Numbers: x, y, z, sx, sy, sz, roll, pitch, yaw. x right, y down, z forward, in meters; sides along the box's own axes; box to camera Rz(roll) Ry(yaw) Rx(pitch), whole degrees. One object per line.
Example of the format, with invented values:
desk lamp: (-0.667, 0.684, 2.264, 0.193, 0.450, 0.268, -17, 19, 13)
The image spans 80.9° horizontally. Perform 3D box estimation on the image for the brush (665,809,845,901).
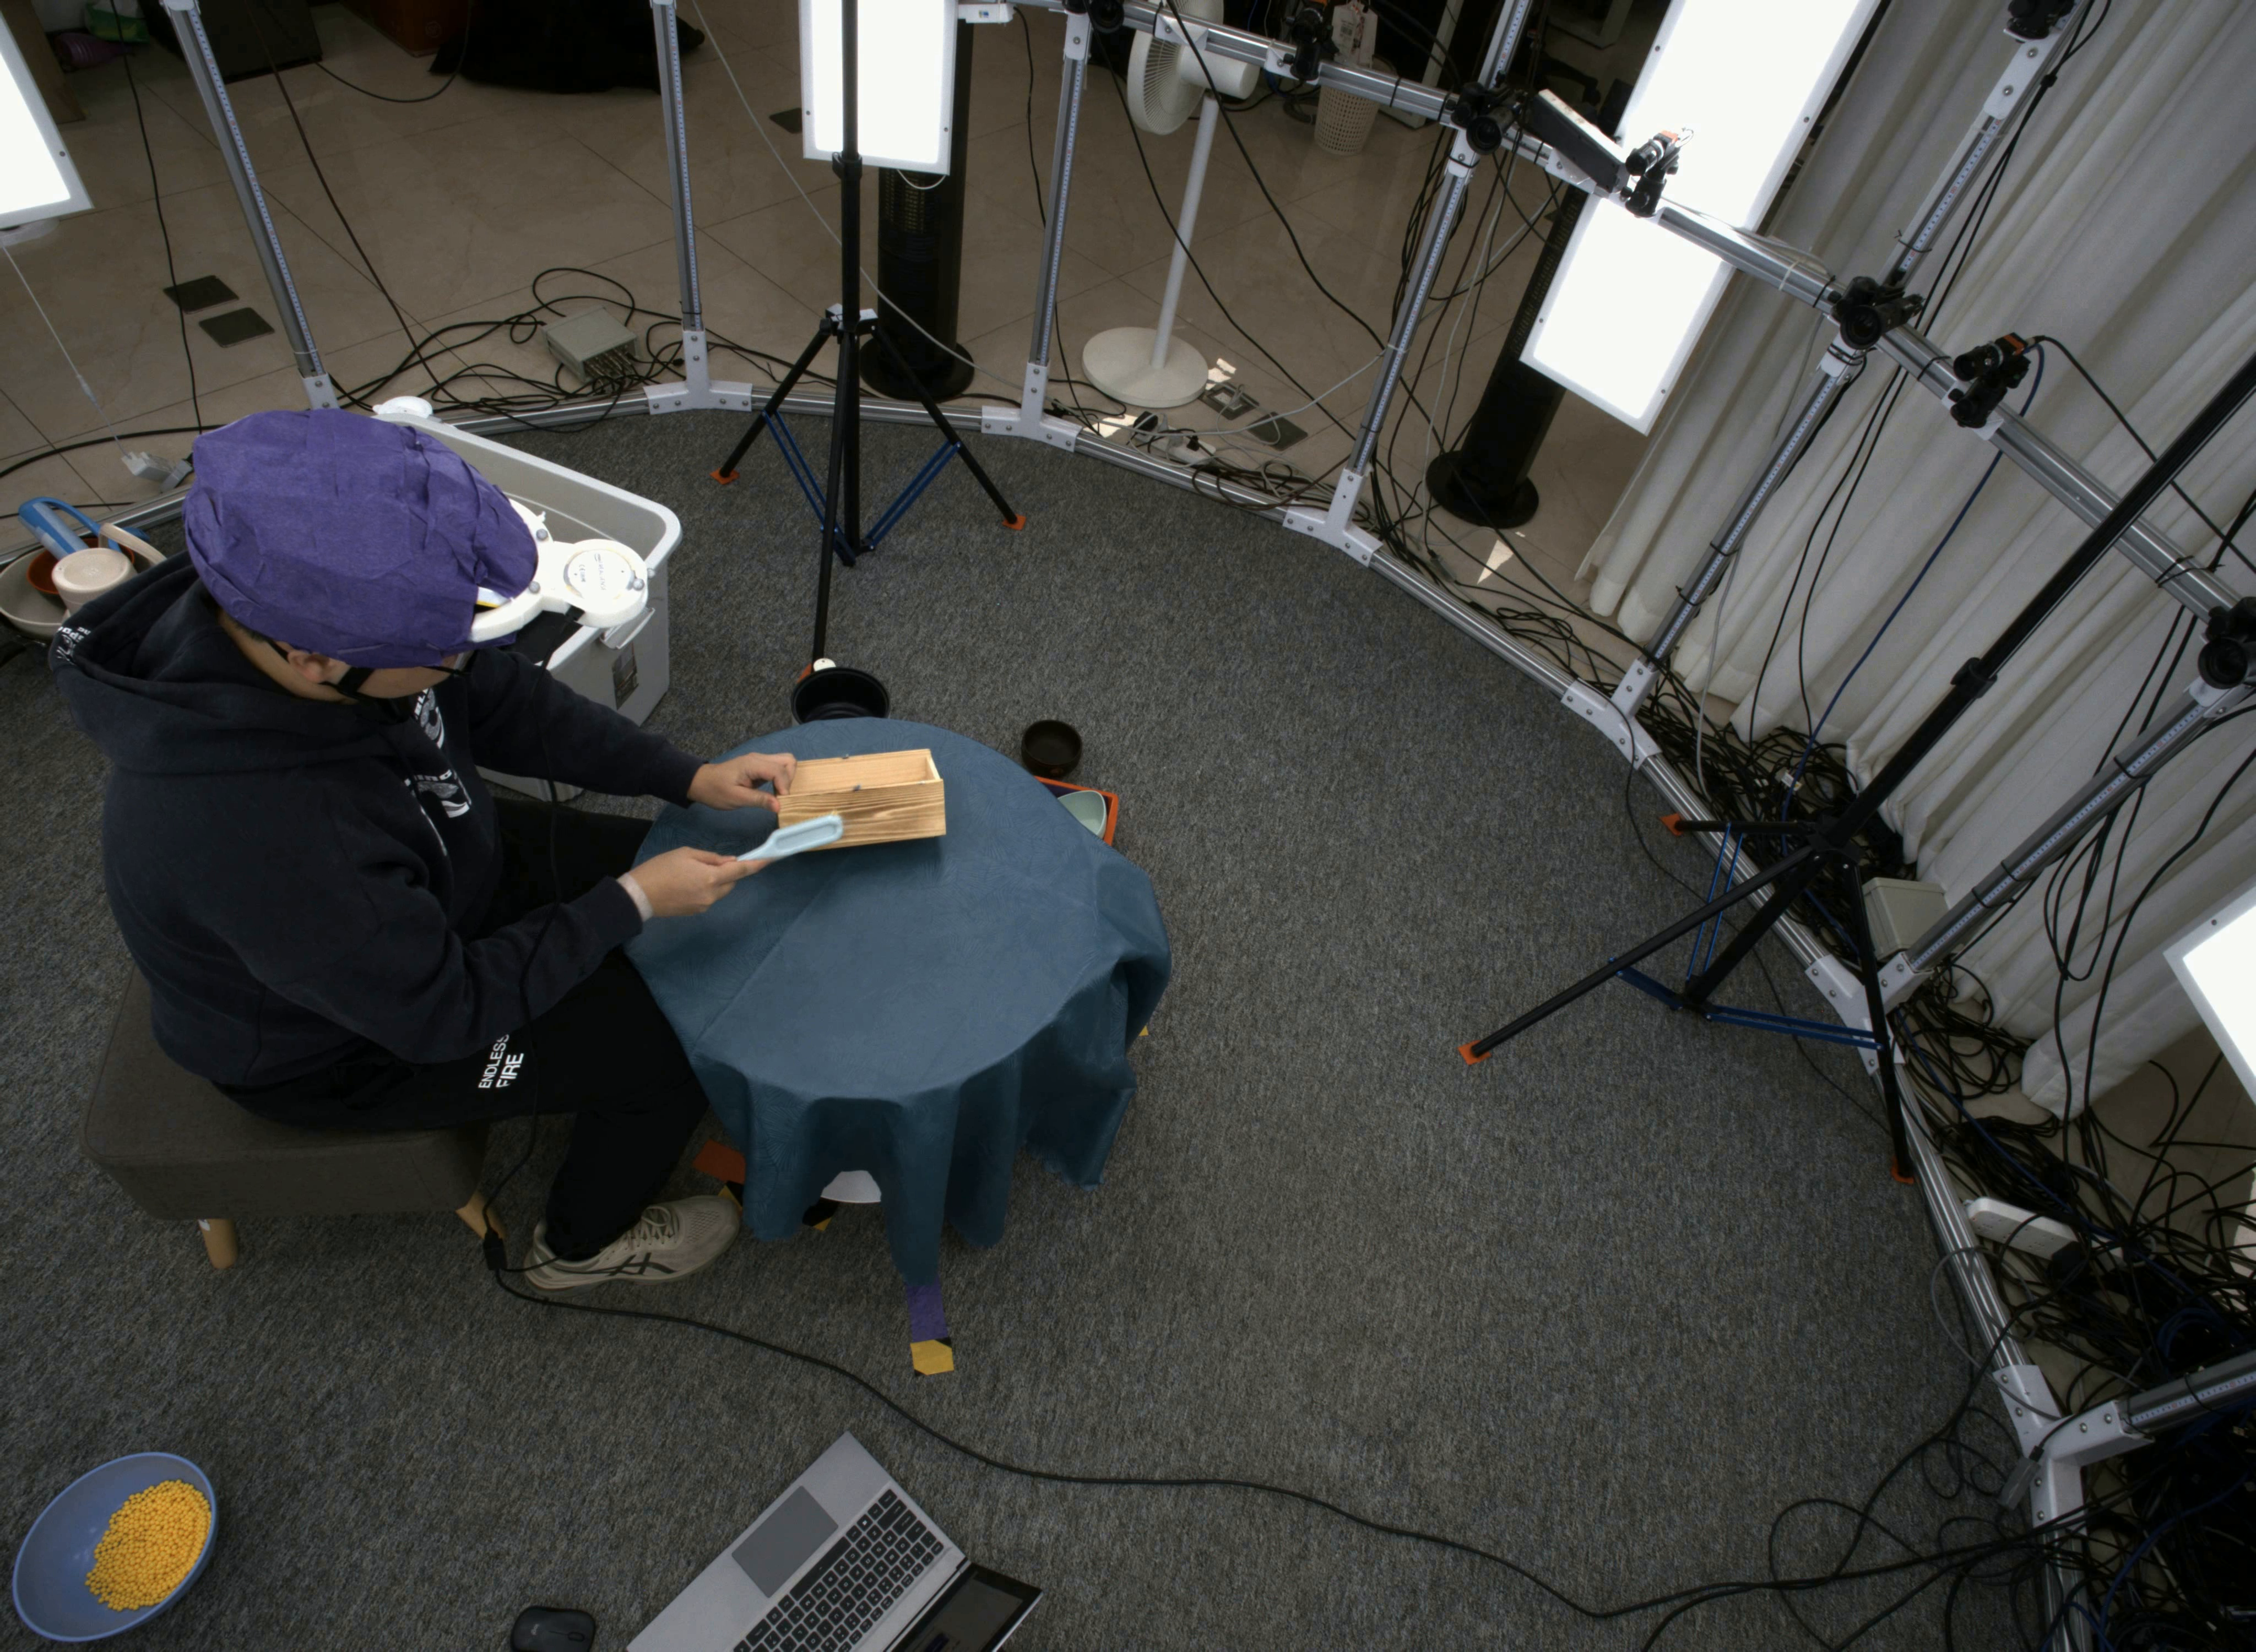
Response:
brush: (-0.456, 0.034, 1.582, 0.229, 0.039, 0.048, -27, 34, -23)

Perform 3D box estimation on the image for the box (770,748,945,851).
box: (-0.352, -0.037, 1.690, 0.212, 0.082, 0.104, -6, 29, -19)
